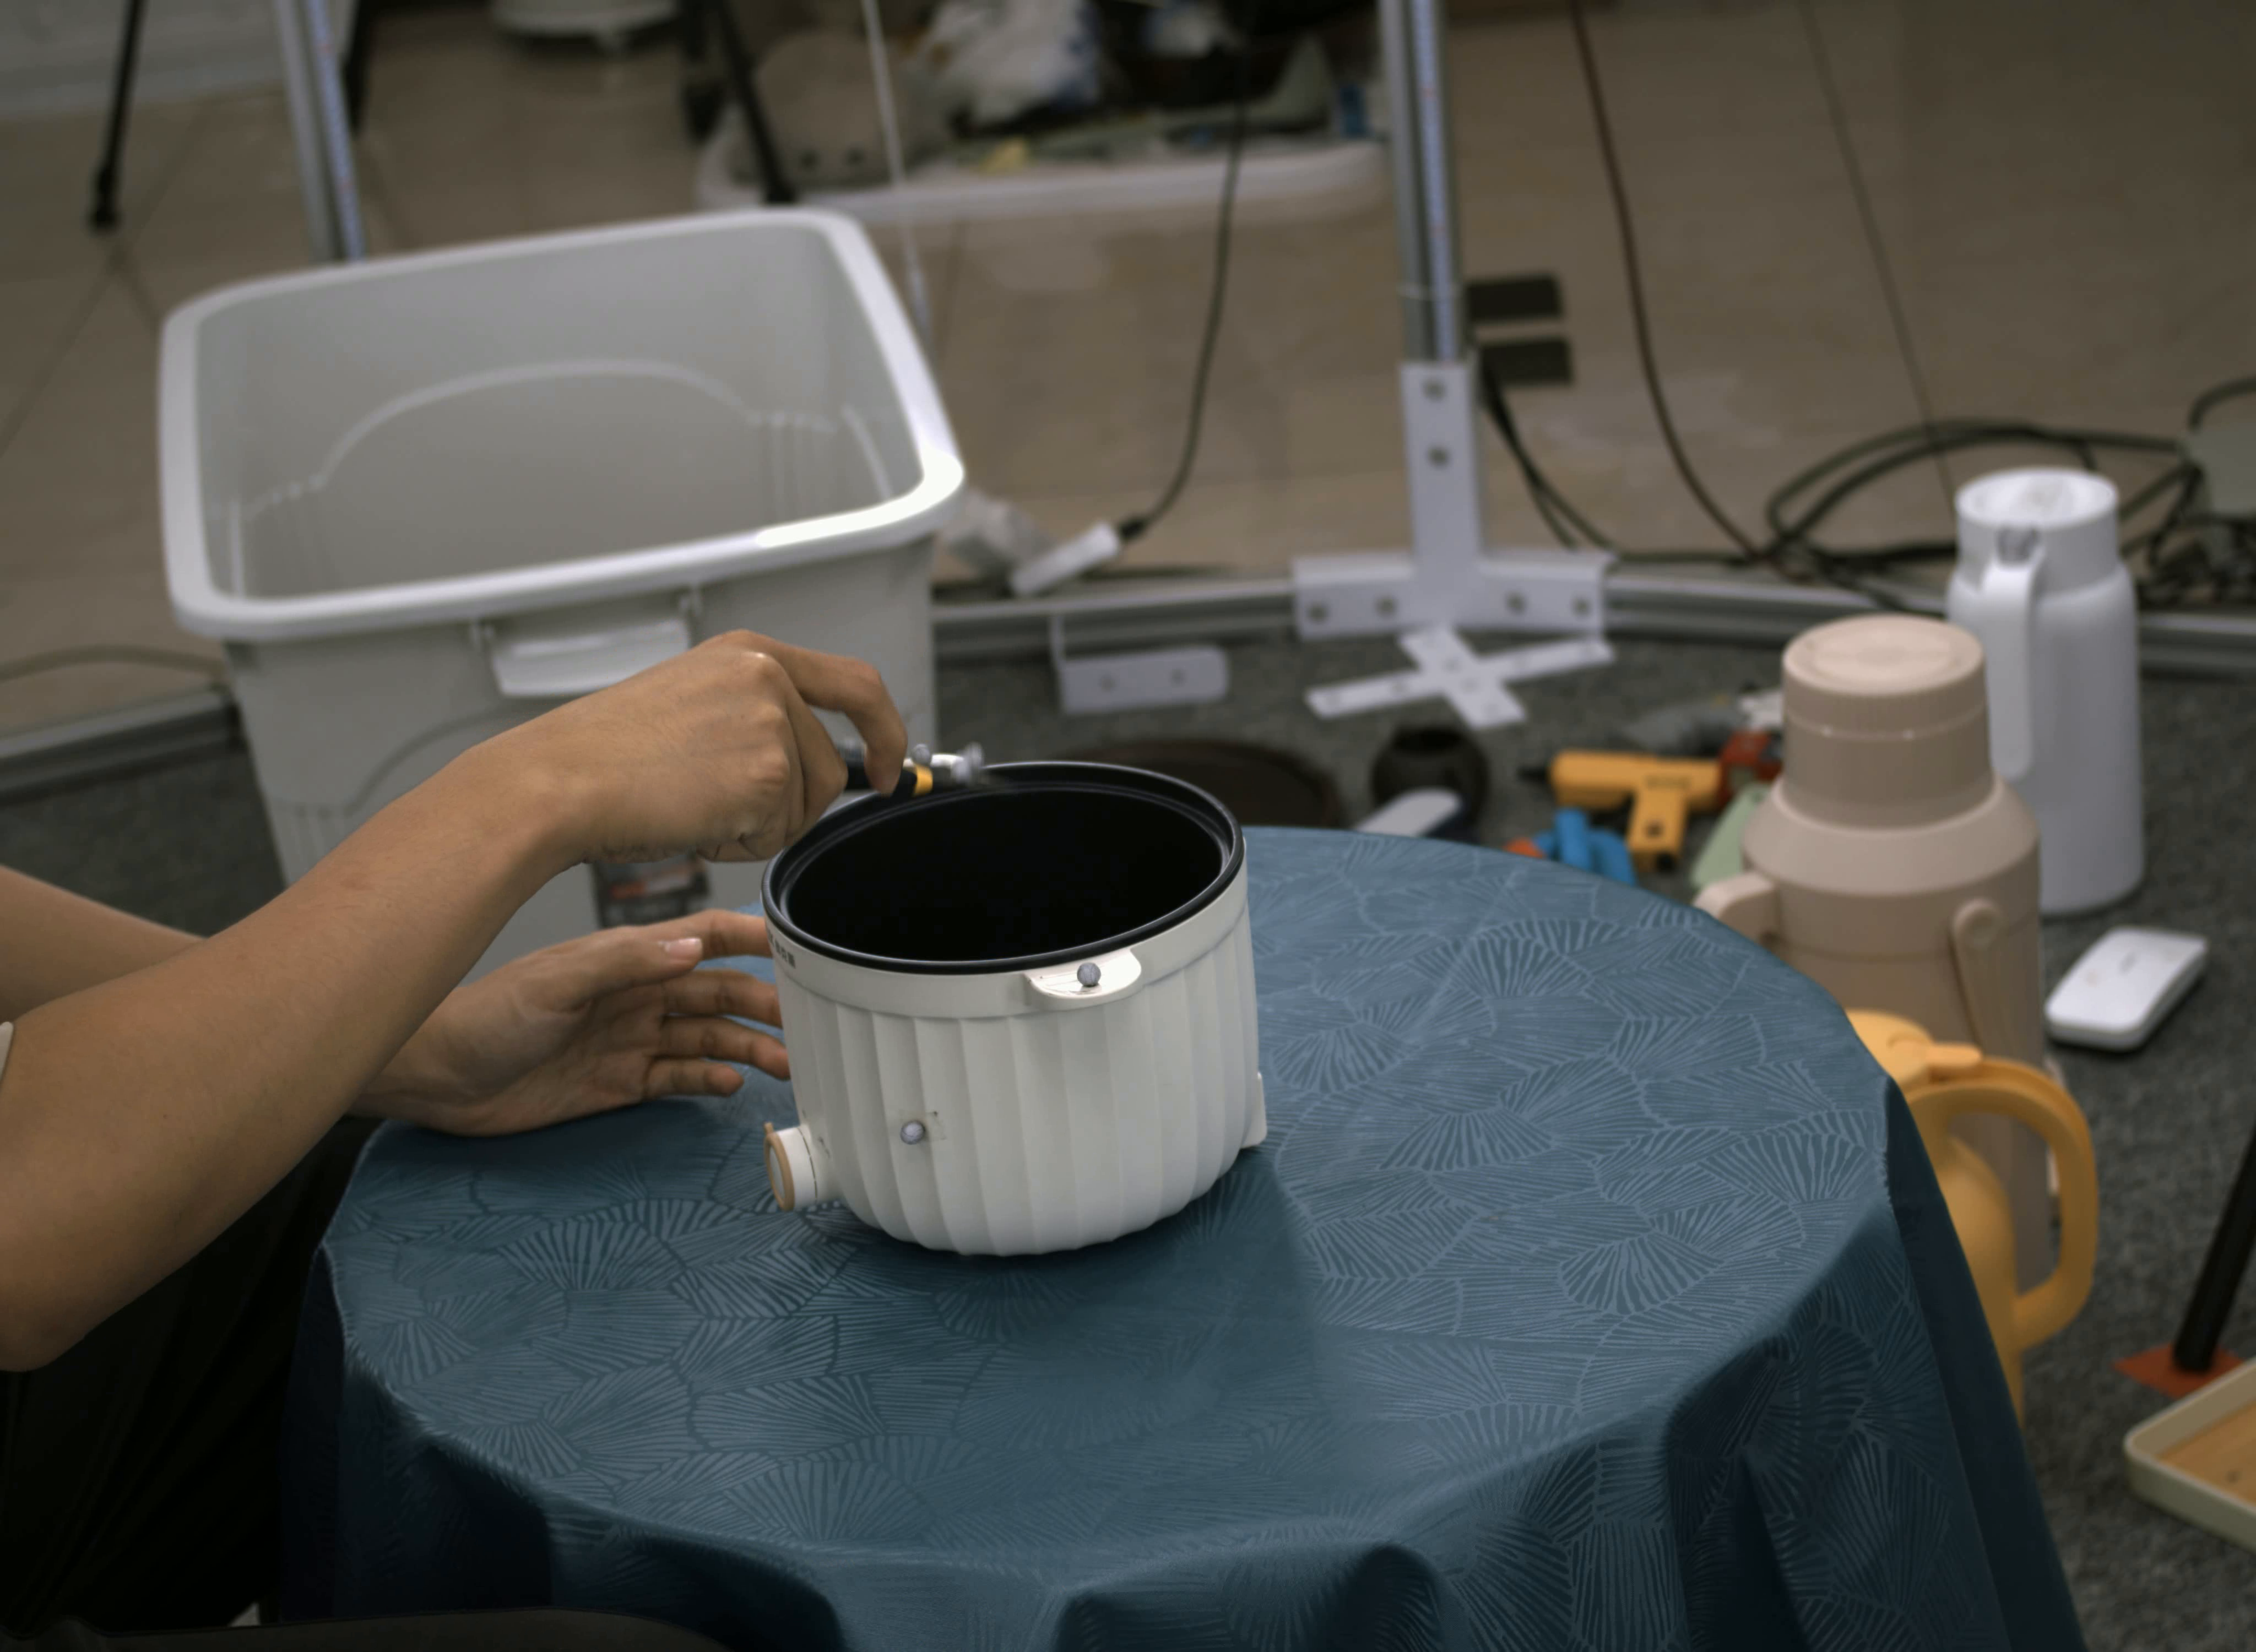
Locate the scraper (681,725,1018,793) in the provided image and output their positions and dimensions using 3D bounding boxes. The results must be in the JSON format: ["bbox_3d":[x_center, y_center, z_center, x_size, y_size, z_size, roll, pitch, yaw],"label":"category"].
[{"bbox_3d":[-0.098,-0.025,1.985,0.038,0.015,0.171,27,16,29],"label":"scraper"}]

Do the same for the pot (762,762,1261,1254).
[{"bbox_3d":[-0.045,0.074,2.135,0.190,0.145,0.237,-9,24,-17],"label":"pot"}]
